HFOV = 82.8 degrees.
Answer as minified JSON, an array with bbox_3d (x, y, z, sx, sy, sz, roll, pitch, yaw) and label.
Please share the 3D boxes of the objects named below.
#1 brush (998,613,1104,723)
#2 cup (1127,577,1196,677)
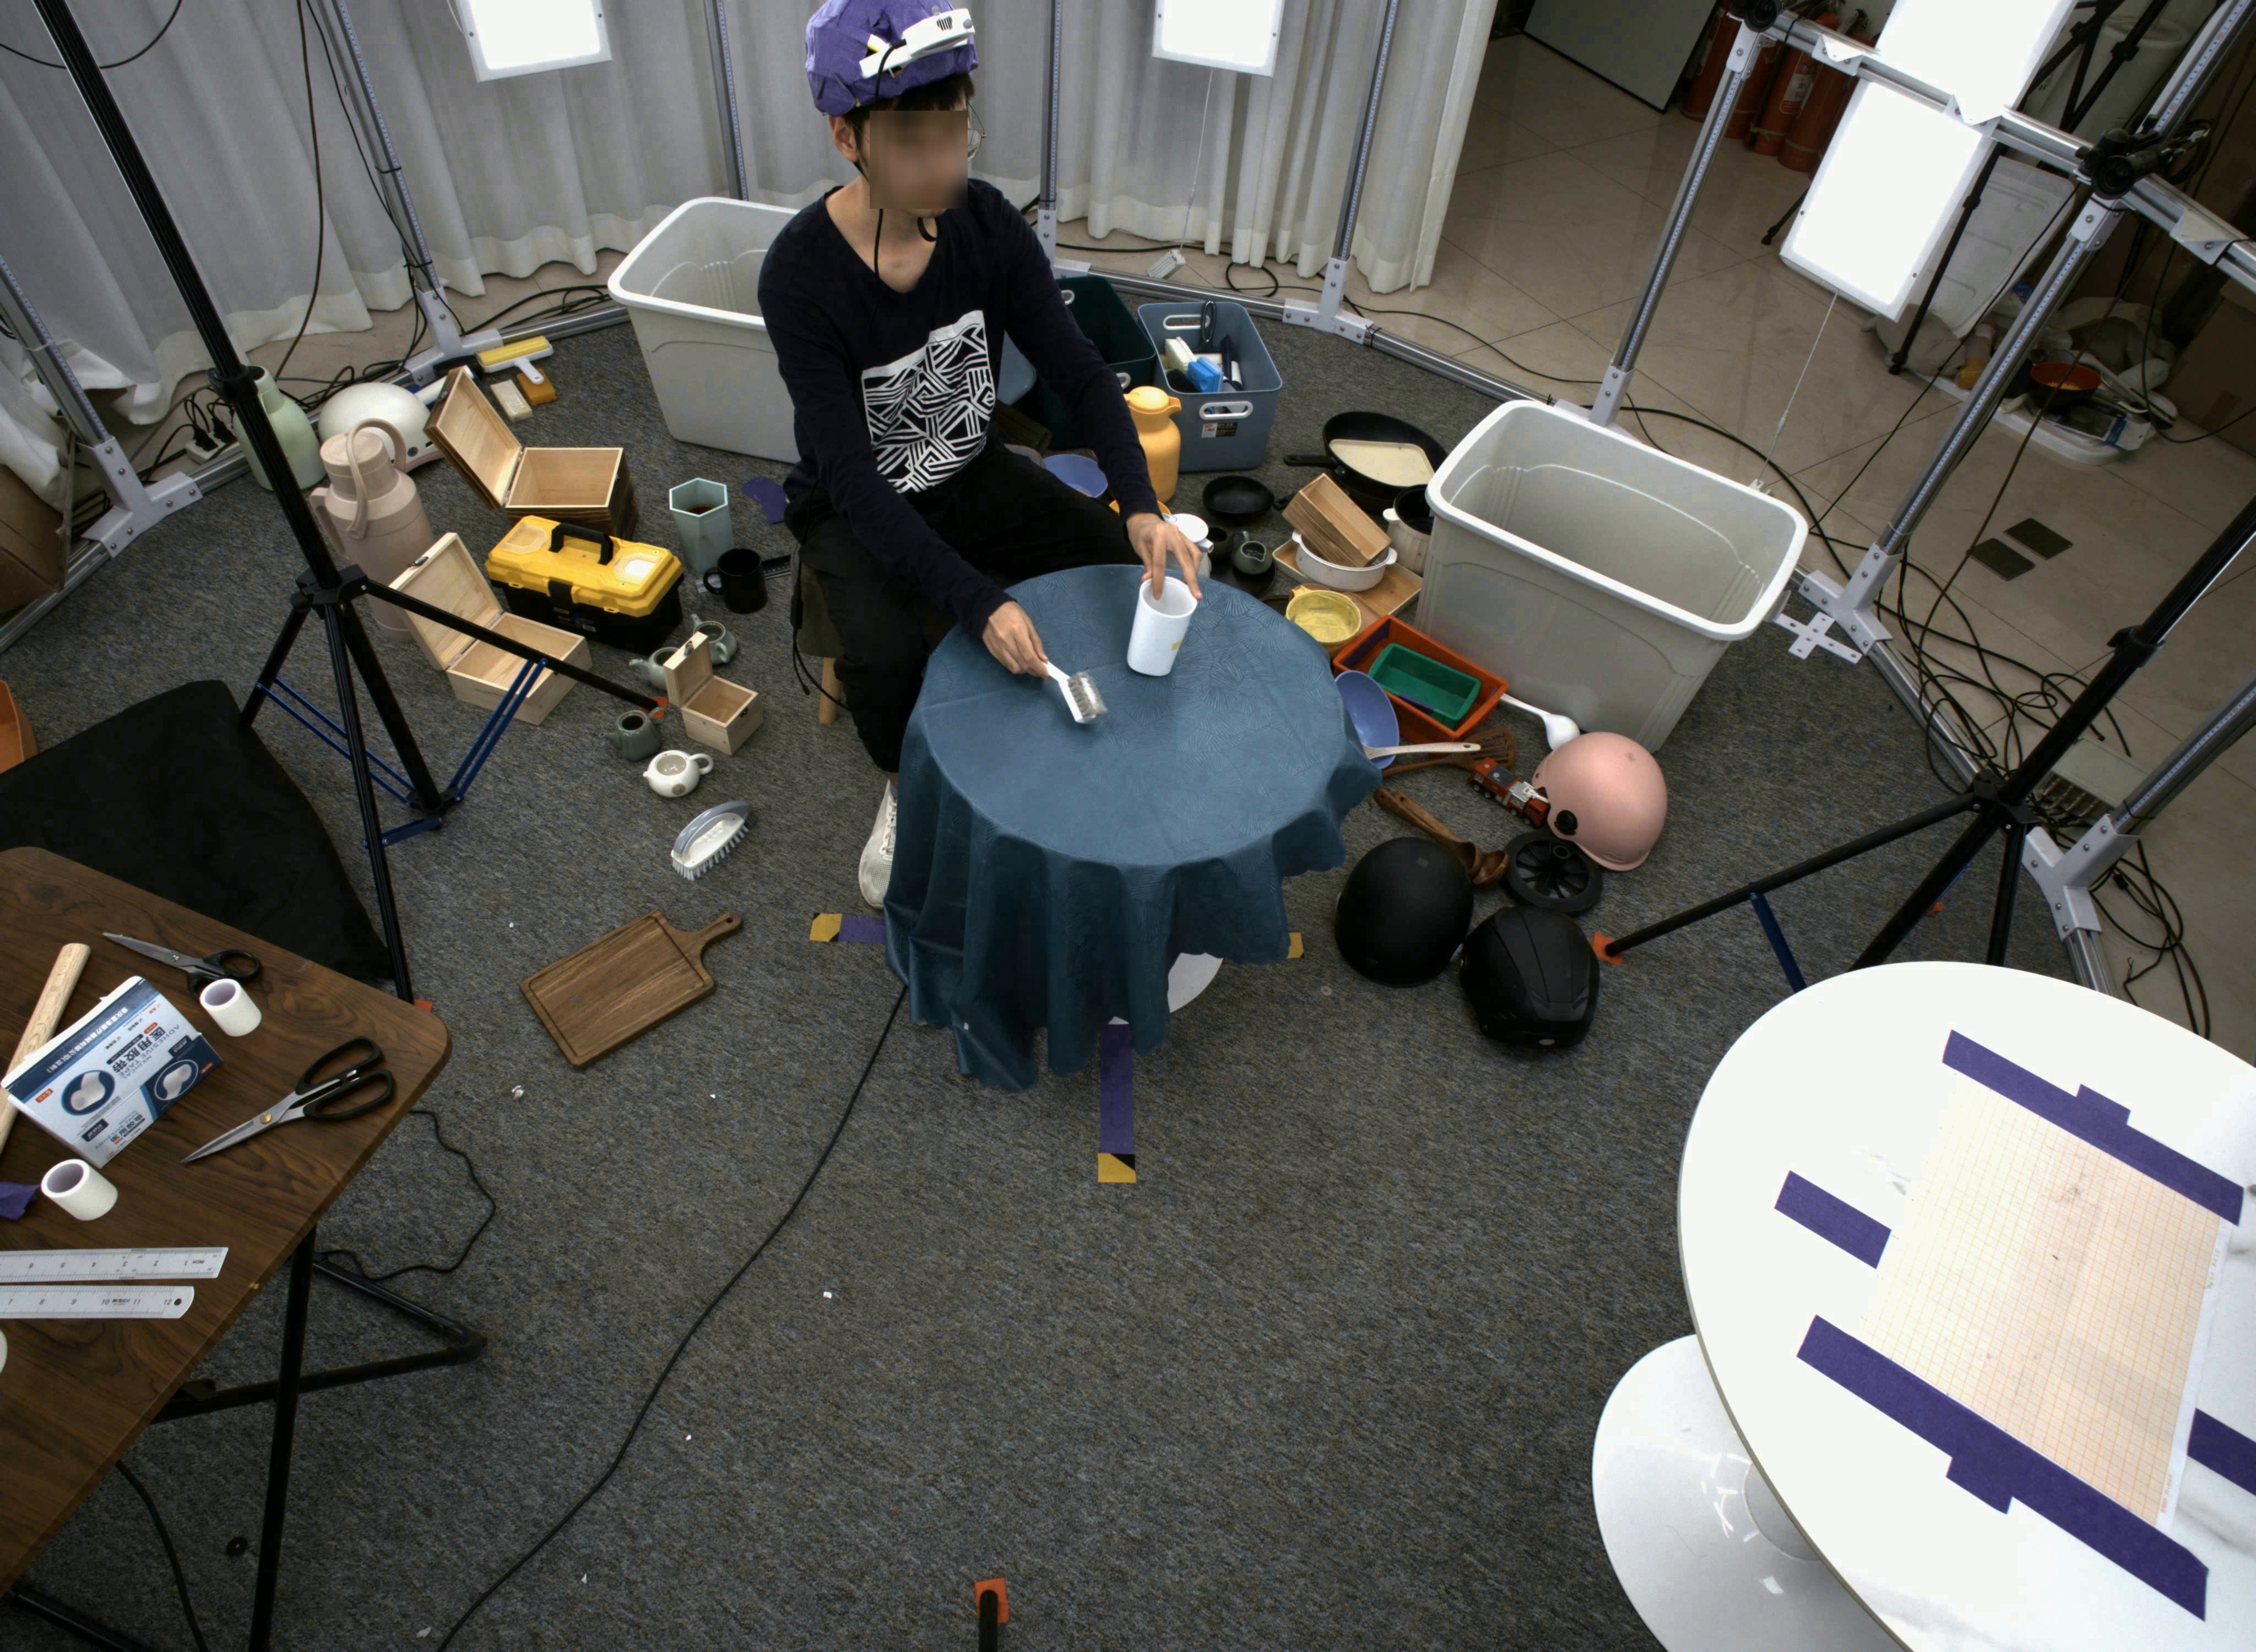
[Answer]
[{"bbox_3d":[-0.111,-0.238,1.814,0.034,0.049,0.248,-8,49,-41],"label":"brush"},{"bbox_3d":[0.043,-0.281,1.830,0.081,0.122,0.084,7,49,-9],"label":"cup"}]
